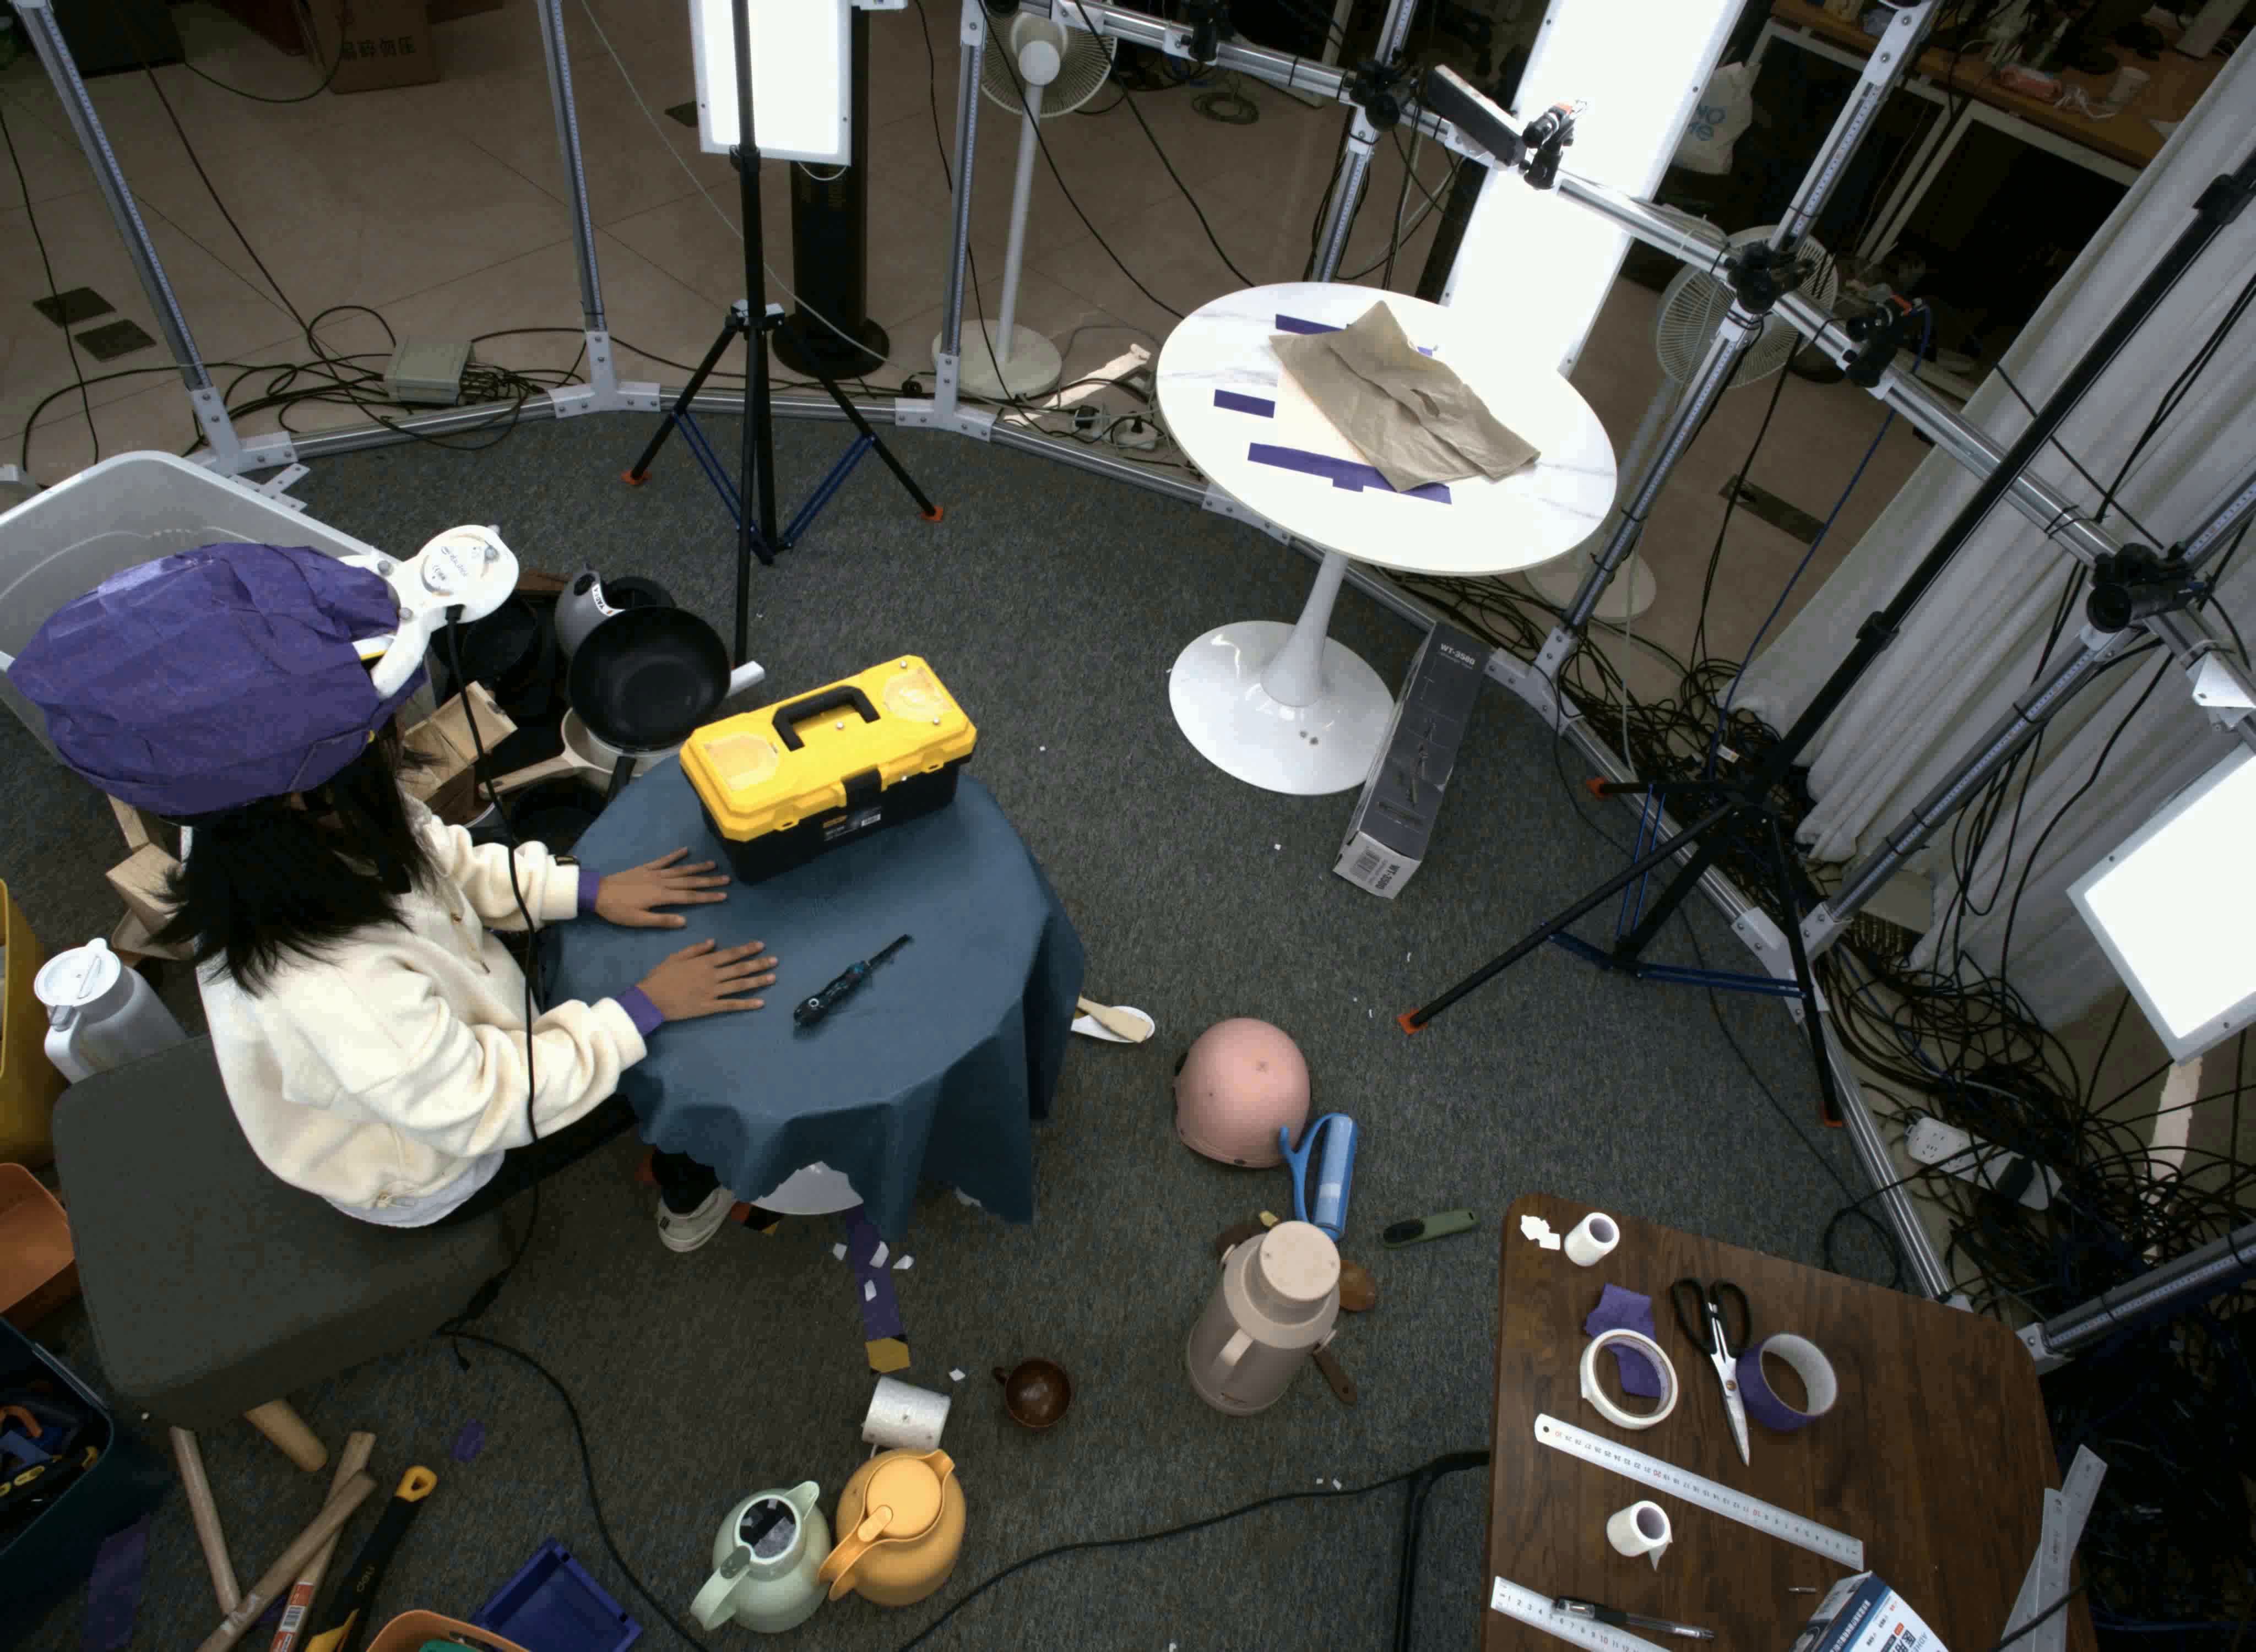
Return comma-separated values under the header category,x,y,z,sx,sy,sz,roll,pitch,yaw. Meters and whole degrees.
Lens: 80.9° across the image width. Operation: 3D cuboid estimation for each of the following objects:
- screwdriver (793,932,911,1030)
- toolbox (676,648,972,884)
category,x,y,z,sx,sy,sz,roll,pitch,yaw
screwdriver,-0.333,0.183,1.592,0.033,0.034,0.190,36,49,16
toolbox,-0.386,-0.077,1.674,0.353,0.176,0.177,-24,62,-29
